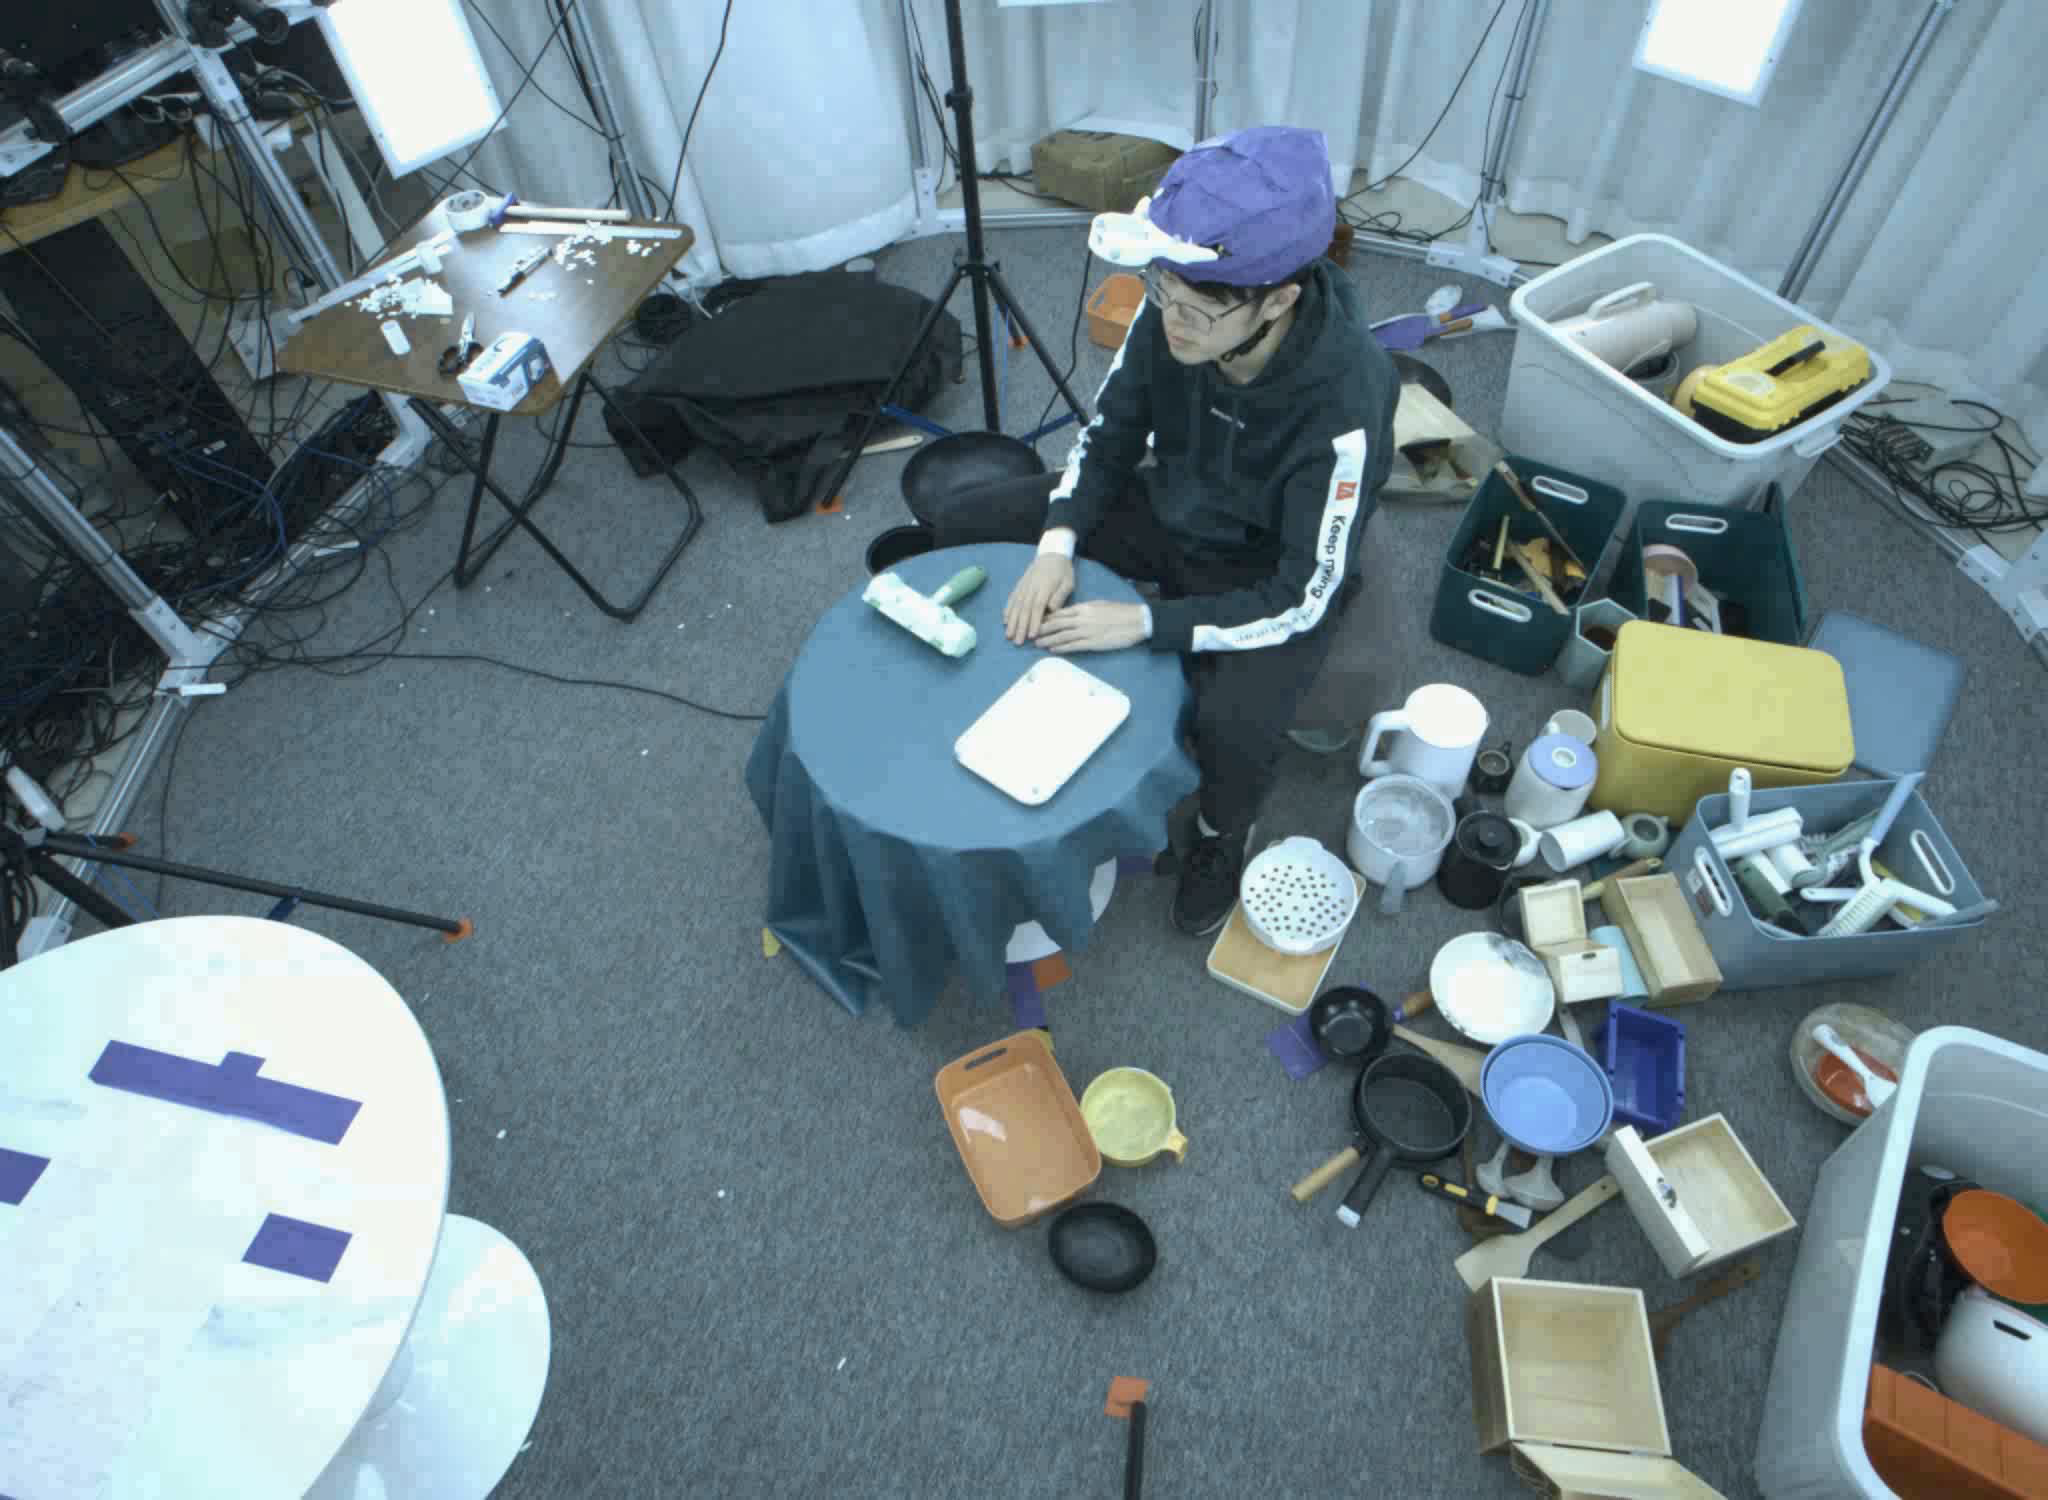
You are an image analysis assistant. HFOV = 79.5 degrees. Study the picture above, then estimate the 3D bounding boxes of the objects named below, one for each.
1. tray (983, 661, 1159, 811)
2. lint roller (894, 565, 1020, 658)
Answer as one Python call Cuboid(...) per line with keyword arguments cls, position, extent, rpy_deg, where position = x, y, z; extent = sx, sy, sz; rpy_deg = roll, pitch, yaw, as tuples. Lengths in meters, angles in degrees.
Cuboid(cls="tray", position=(0.069, -0.022, 1.785), extent=(0.168, 0.017, 0.241), rpy_deg=(34, 63, 22))
Cuboid(cls="lint roller", position=(-0.077, -0.249, 1.915), extent=(0.195, 0.083, 0.184), rpy_deg=(36, 68, 24))
